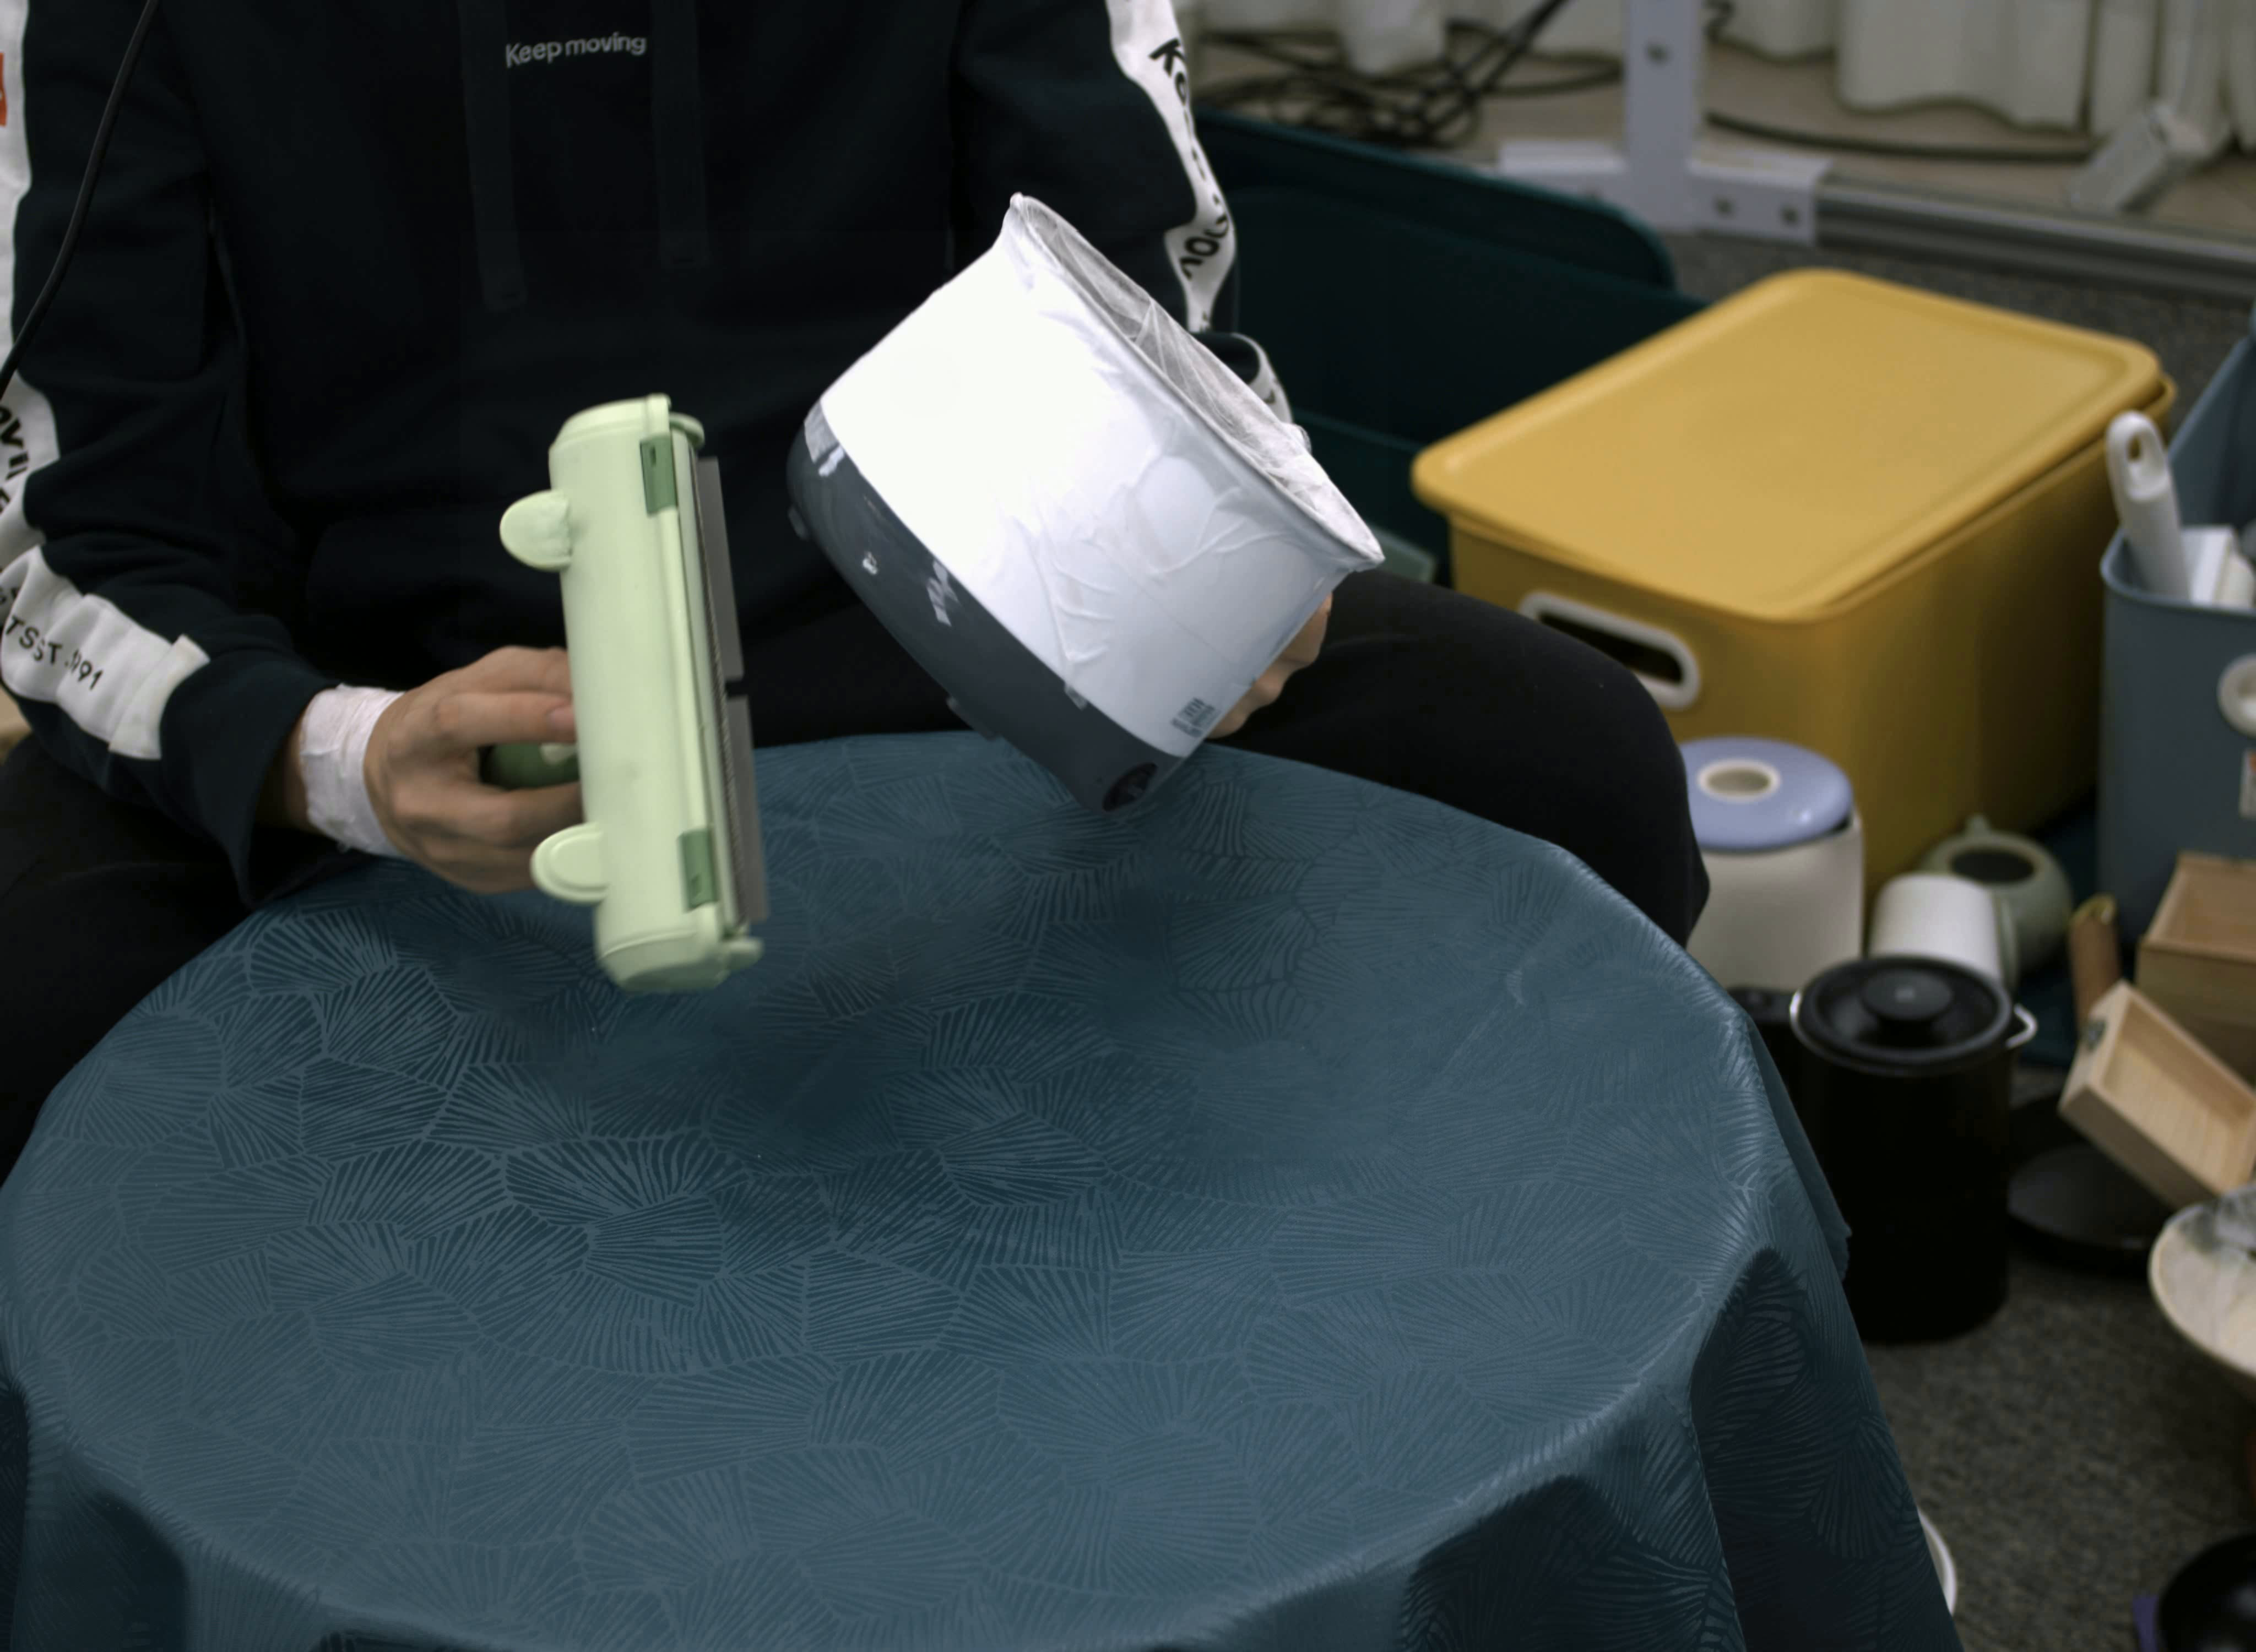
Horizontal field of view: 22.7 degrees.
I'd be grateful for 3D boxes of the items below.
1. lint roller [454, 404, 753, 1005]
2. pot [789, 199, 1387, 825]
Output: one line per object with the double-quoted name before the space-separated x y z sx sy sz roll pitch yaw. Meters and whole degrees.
"lint roller" -0.201 -0.028 1.920 0.082 0.201 0.180 6 -18 -40
"pot" -0.008 -0.103 1.955 0.180 0.136 0.233 48 10 20
